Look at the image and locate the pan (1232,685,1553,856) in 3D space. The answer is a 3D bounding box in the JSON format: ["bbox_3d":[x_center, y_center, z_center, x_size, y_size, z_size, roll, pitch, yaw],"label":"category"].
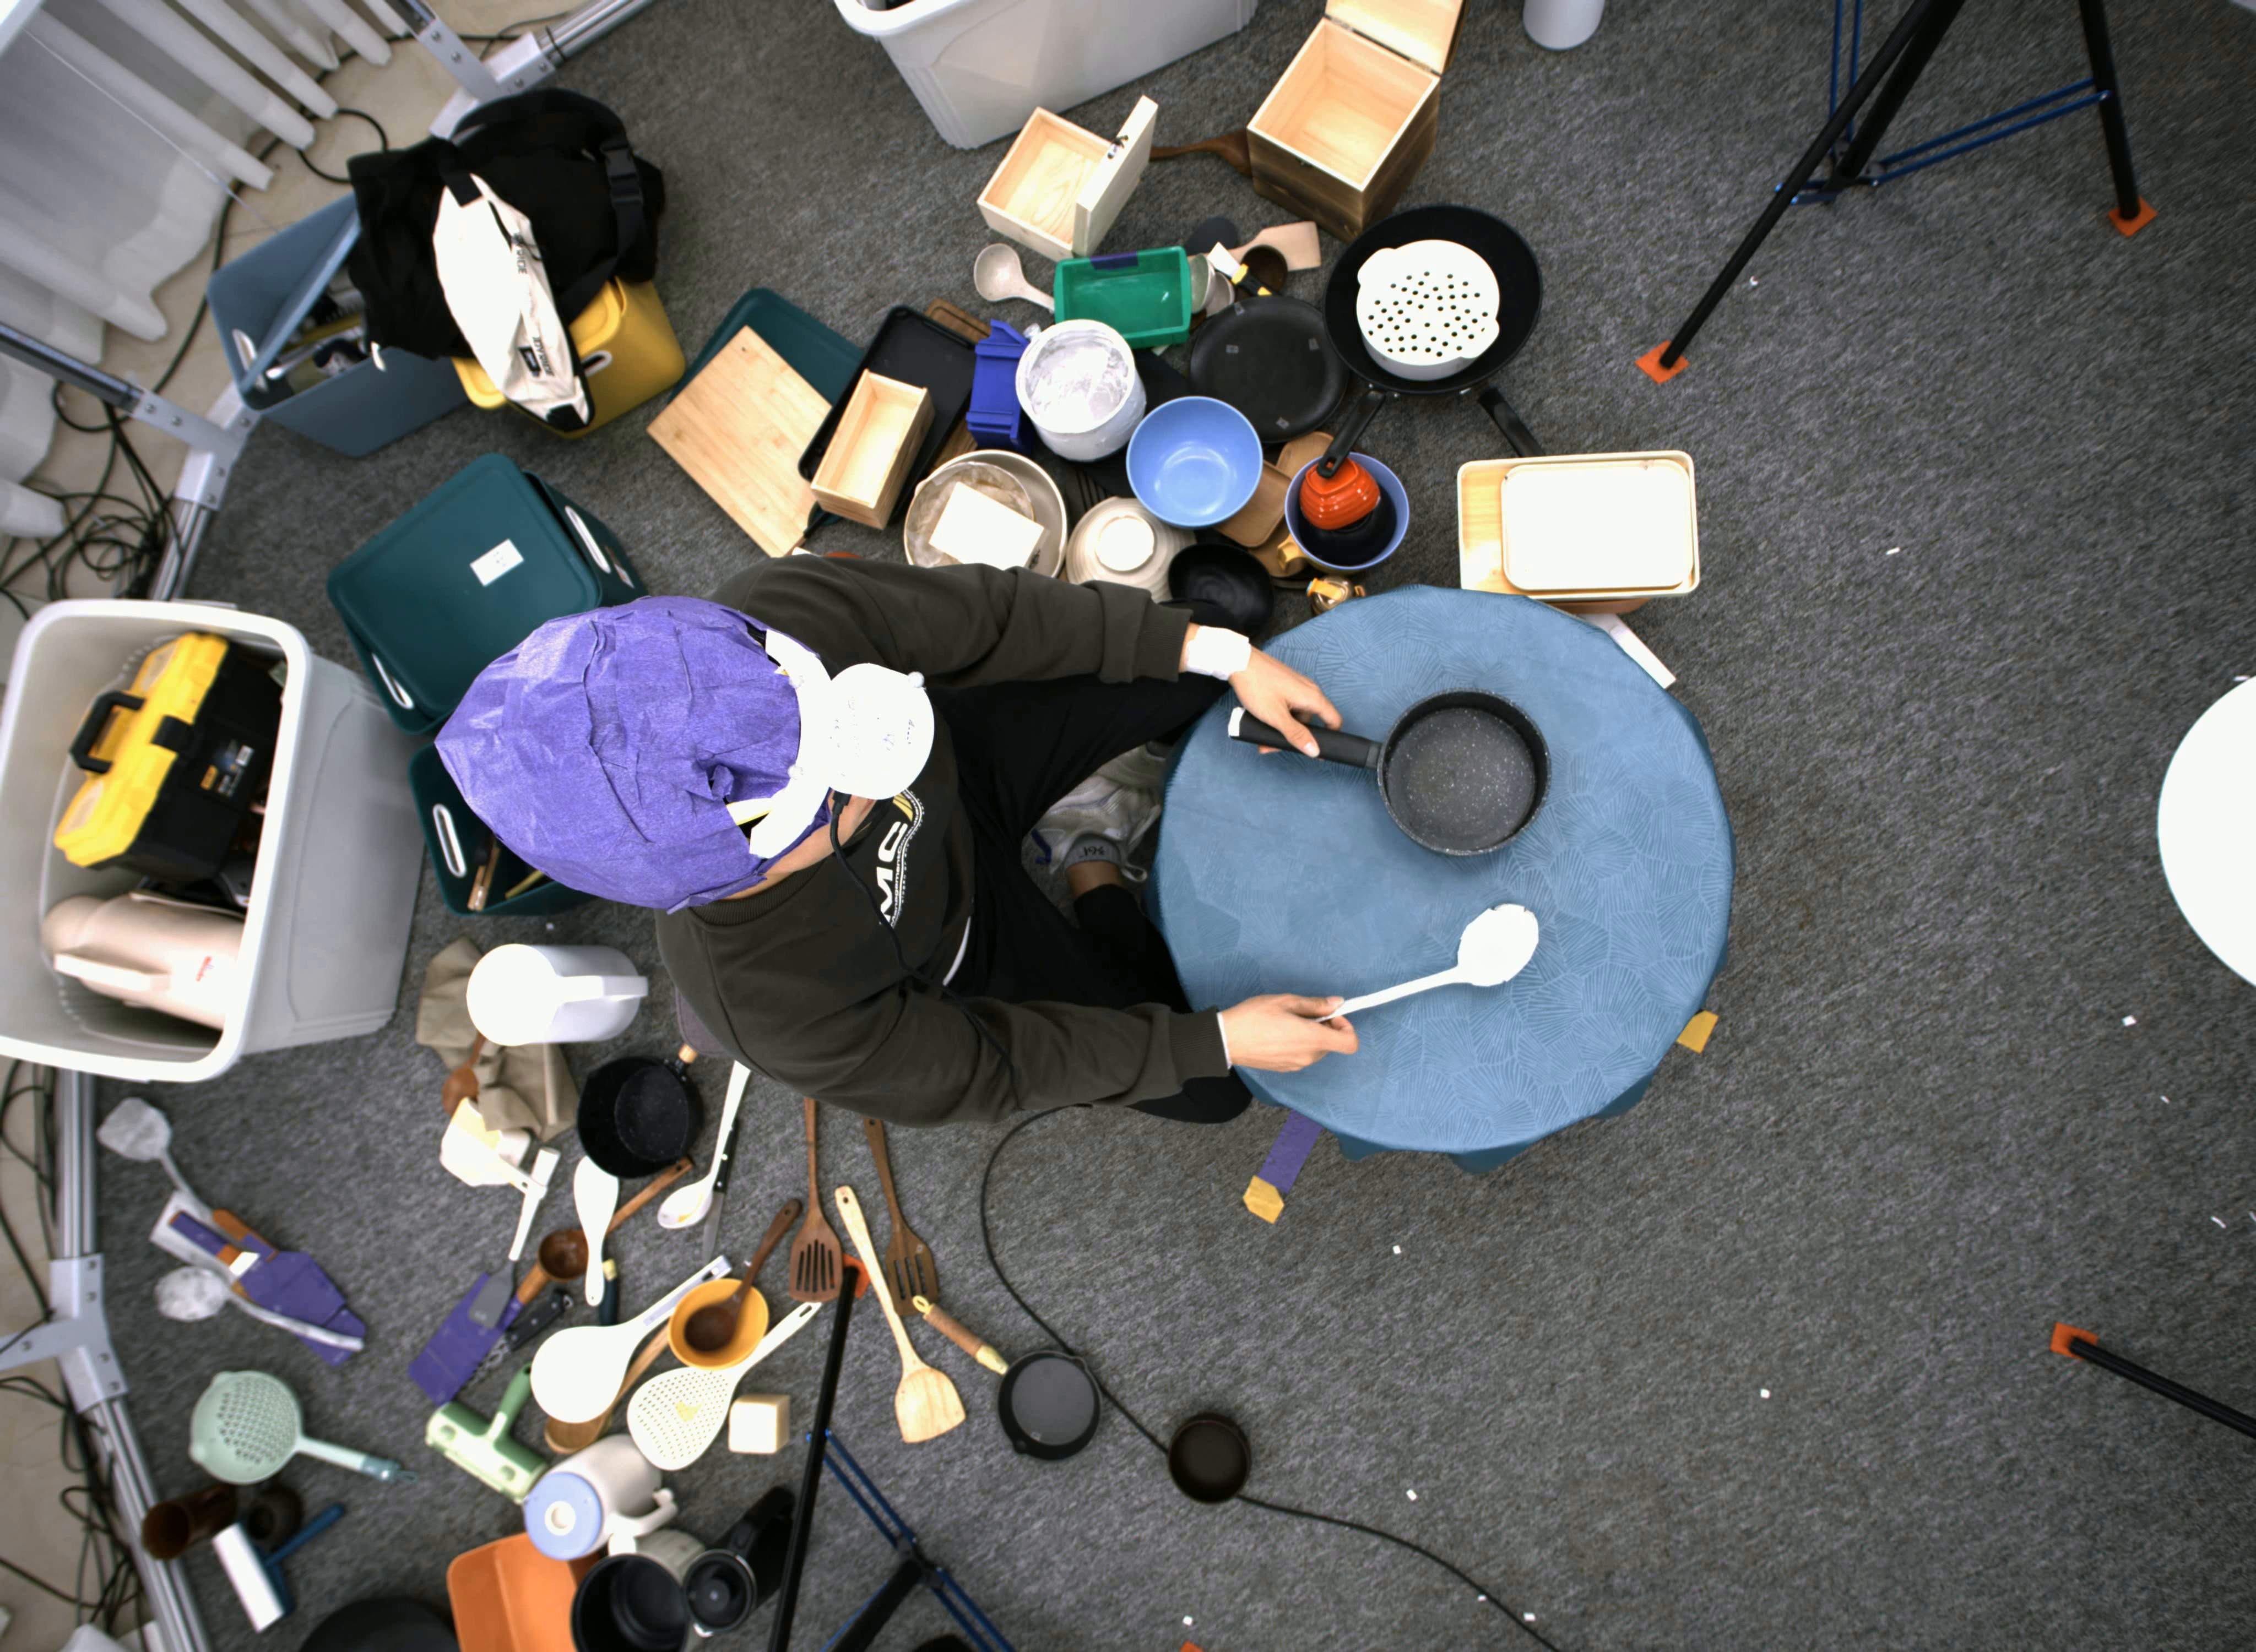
[{"bbox_3d":[0.269,-0.075,1.426,0.329,0.086,0.171,16,88,10],"label":"pan"}]

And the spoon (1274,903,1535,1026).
[{"bbox_3d":[0.278,0.142,1.409,0.278,0.098,0.060,-15,125,3],"label":"spoon"}]
